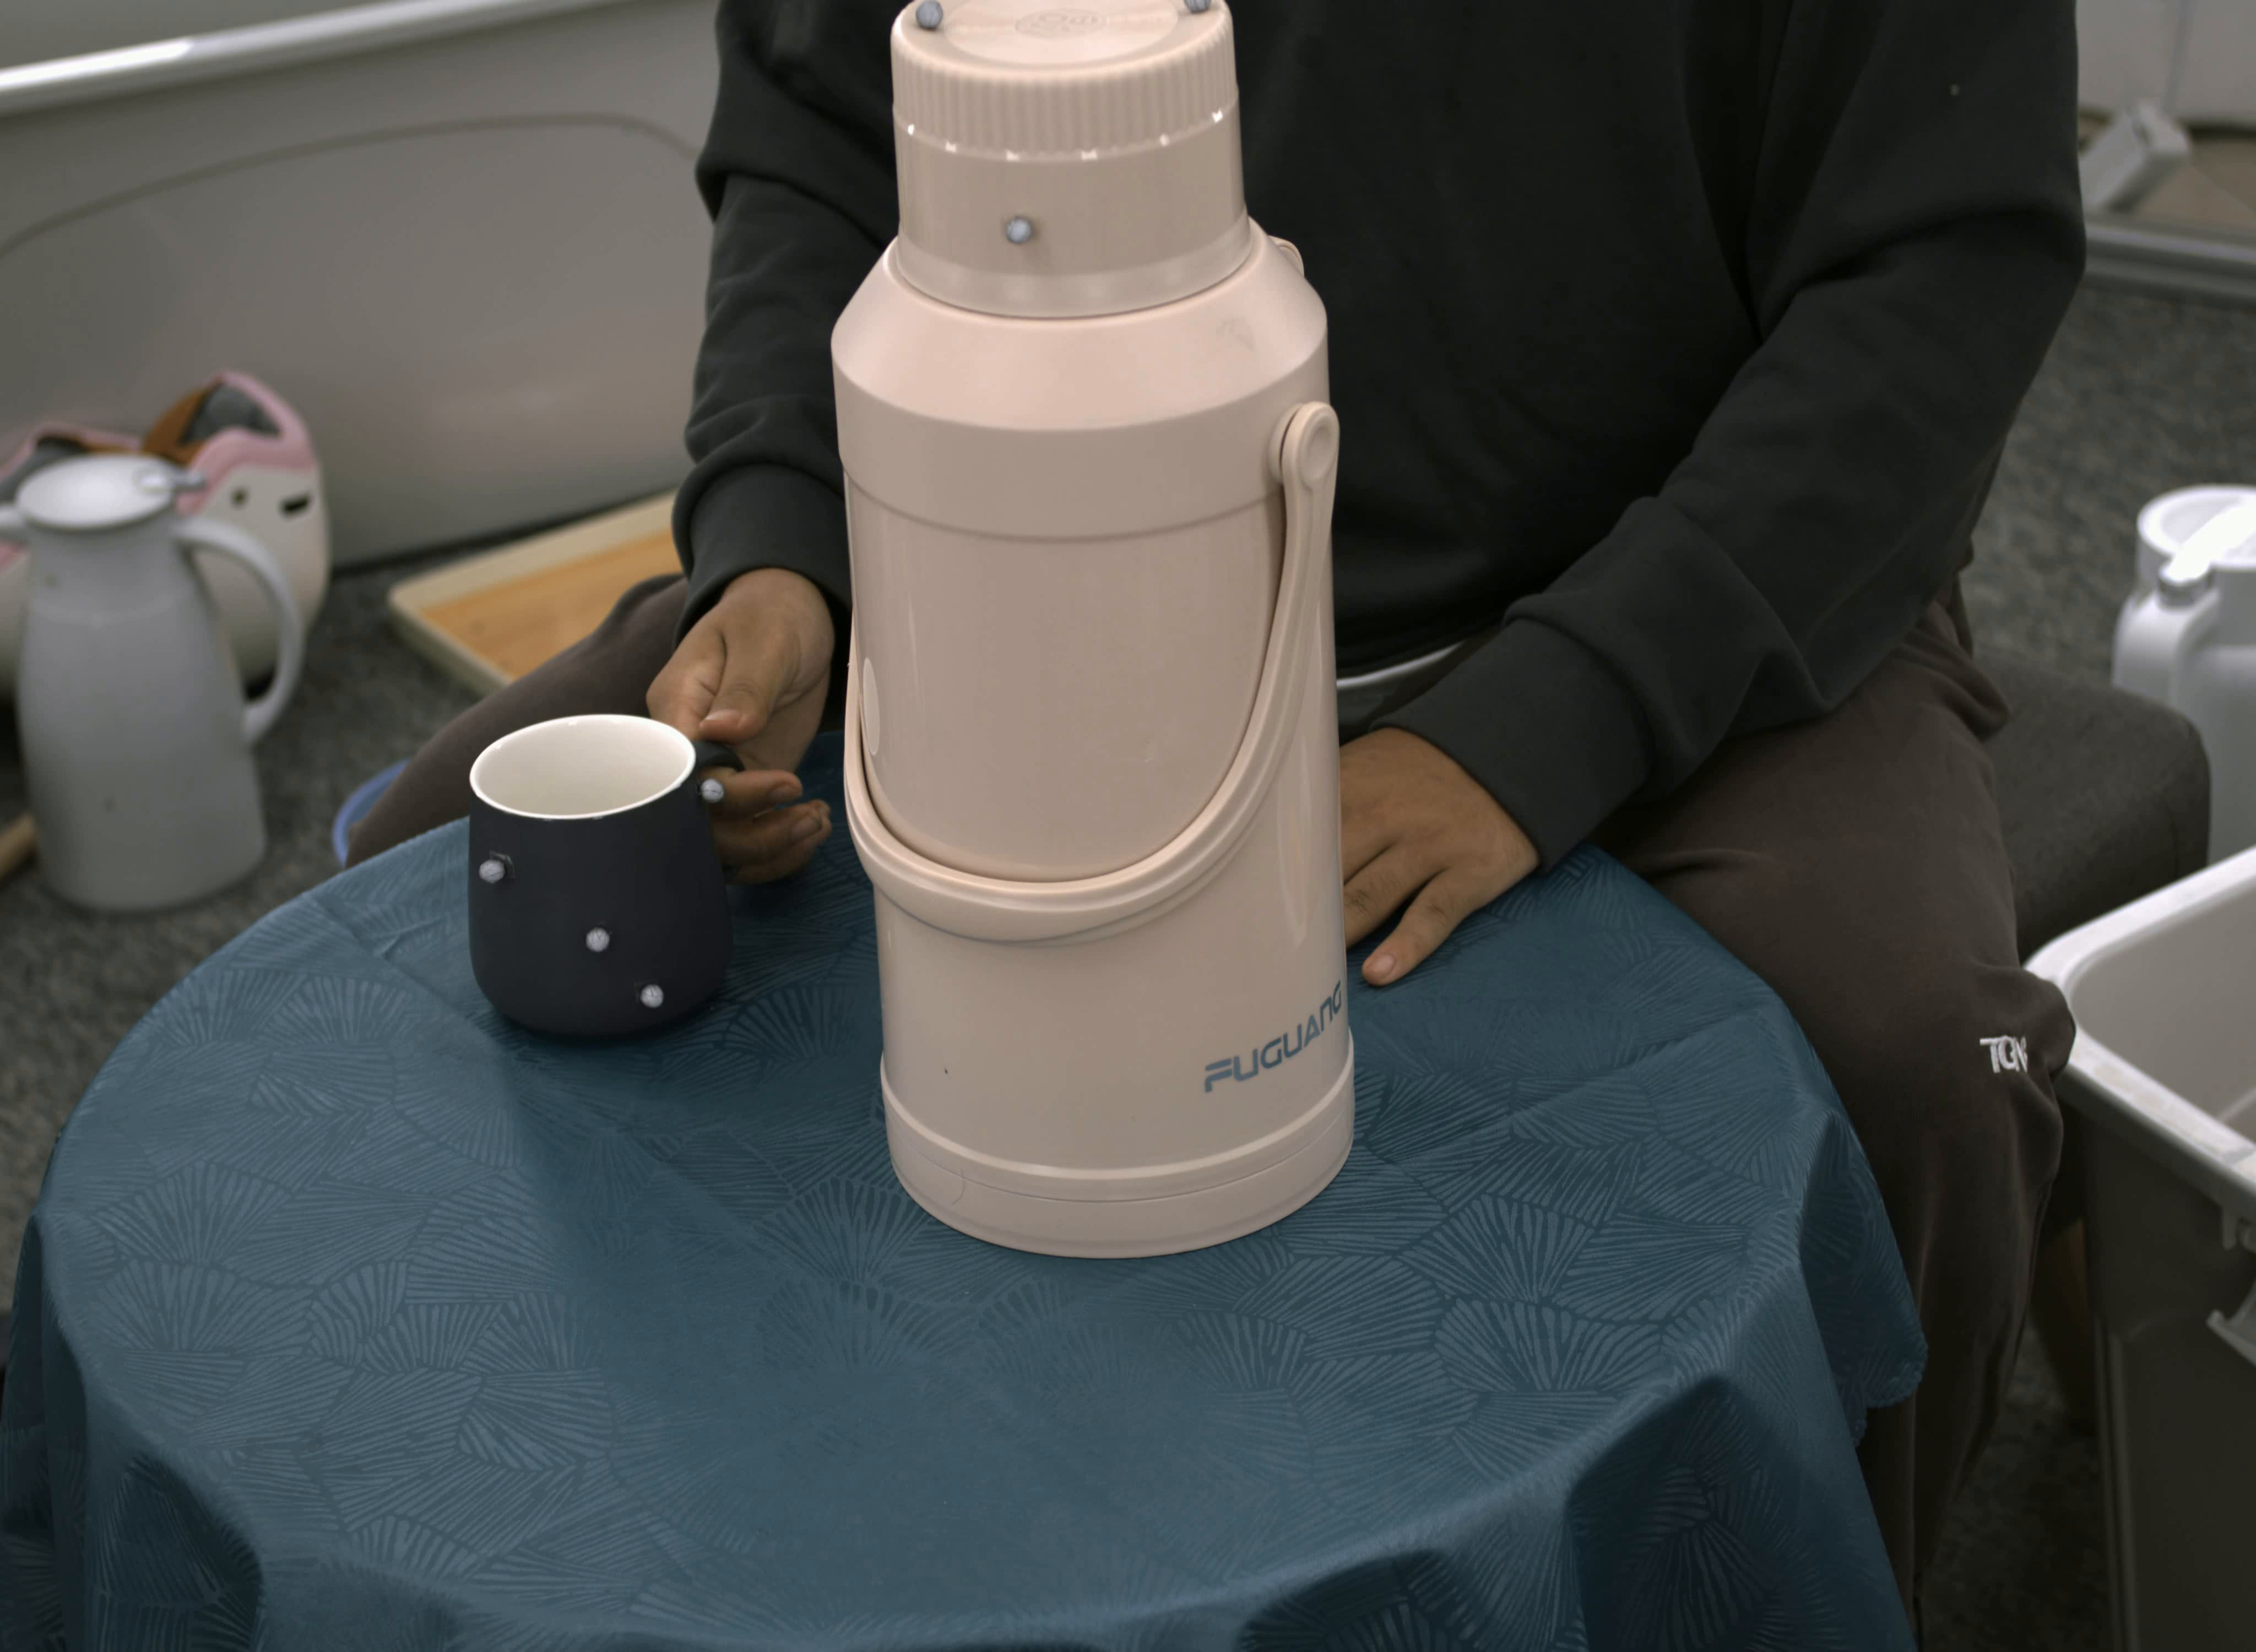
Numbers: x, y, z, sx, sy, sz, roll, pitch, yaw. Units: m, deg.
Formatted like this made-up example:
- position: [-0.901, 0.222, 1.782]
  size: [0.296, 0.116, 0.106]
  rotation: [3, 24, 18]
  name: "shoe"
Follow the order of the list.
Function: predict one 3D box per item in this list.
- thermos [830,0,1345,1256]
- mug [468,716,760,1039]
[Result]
- position: [-0.004, -0.077, 1.823]
  size: [0.174, 0.402, 0.210]
  rotation: [13, 31, 30]
  name: "thermos"
- position: [-0.178, 0.013, 1.992]
  size: [0.093, 0.089, 0.125]
  rotation: [20, 35, 37]
  name: "mug"
